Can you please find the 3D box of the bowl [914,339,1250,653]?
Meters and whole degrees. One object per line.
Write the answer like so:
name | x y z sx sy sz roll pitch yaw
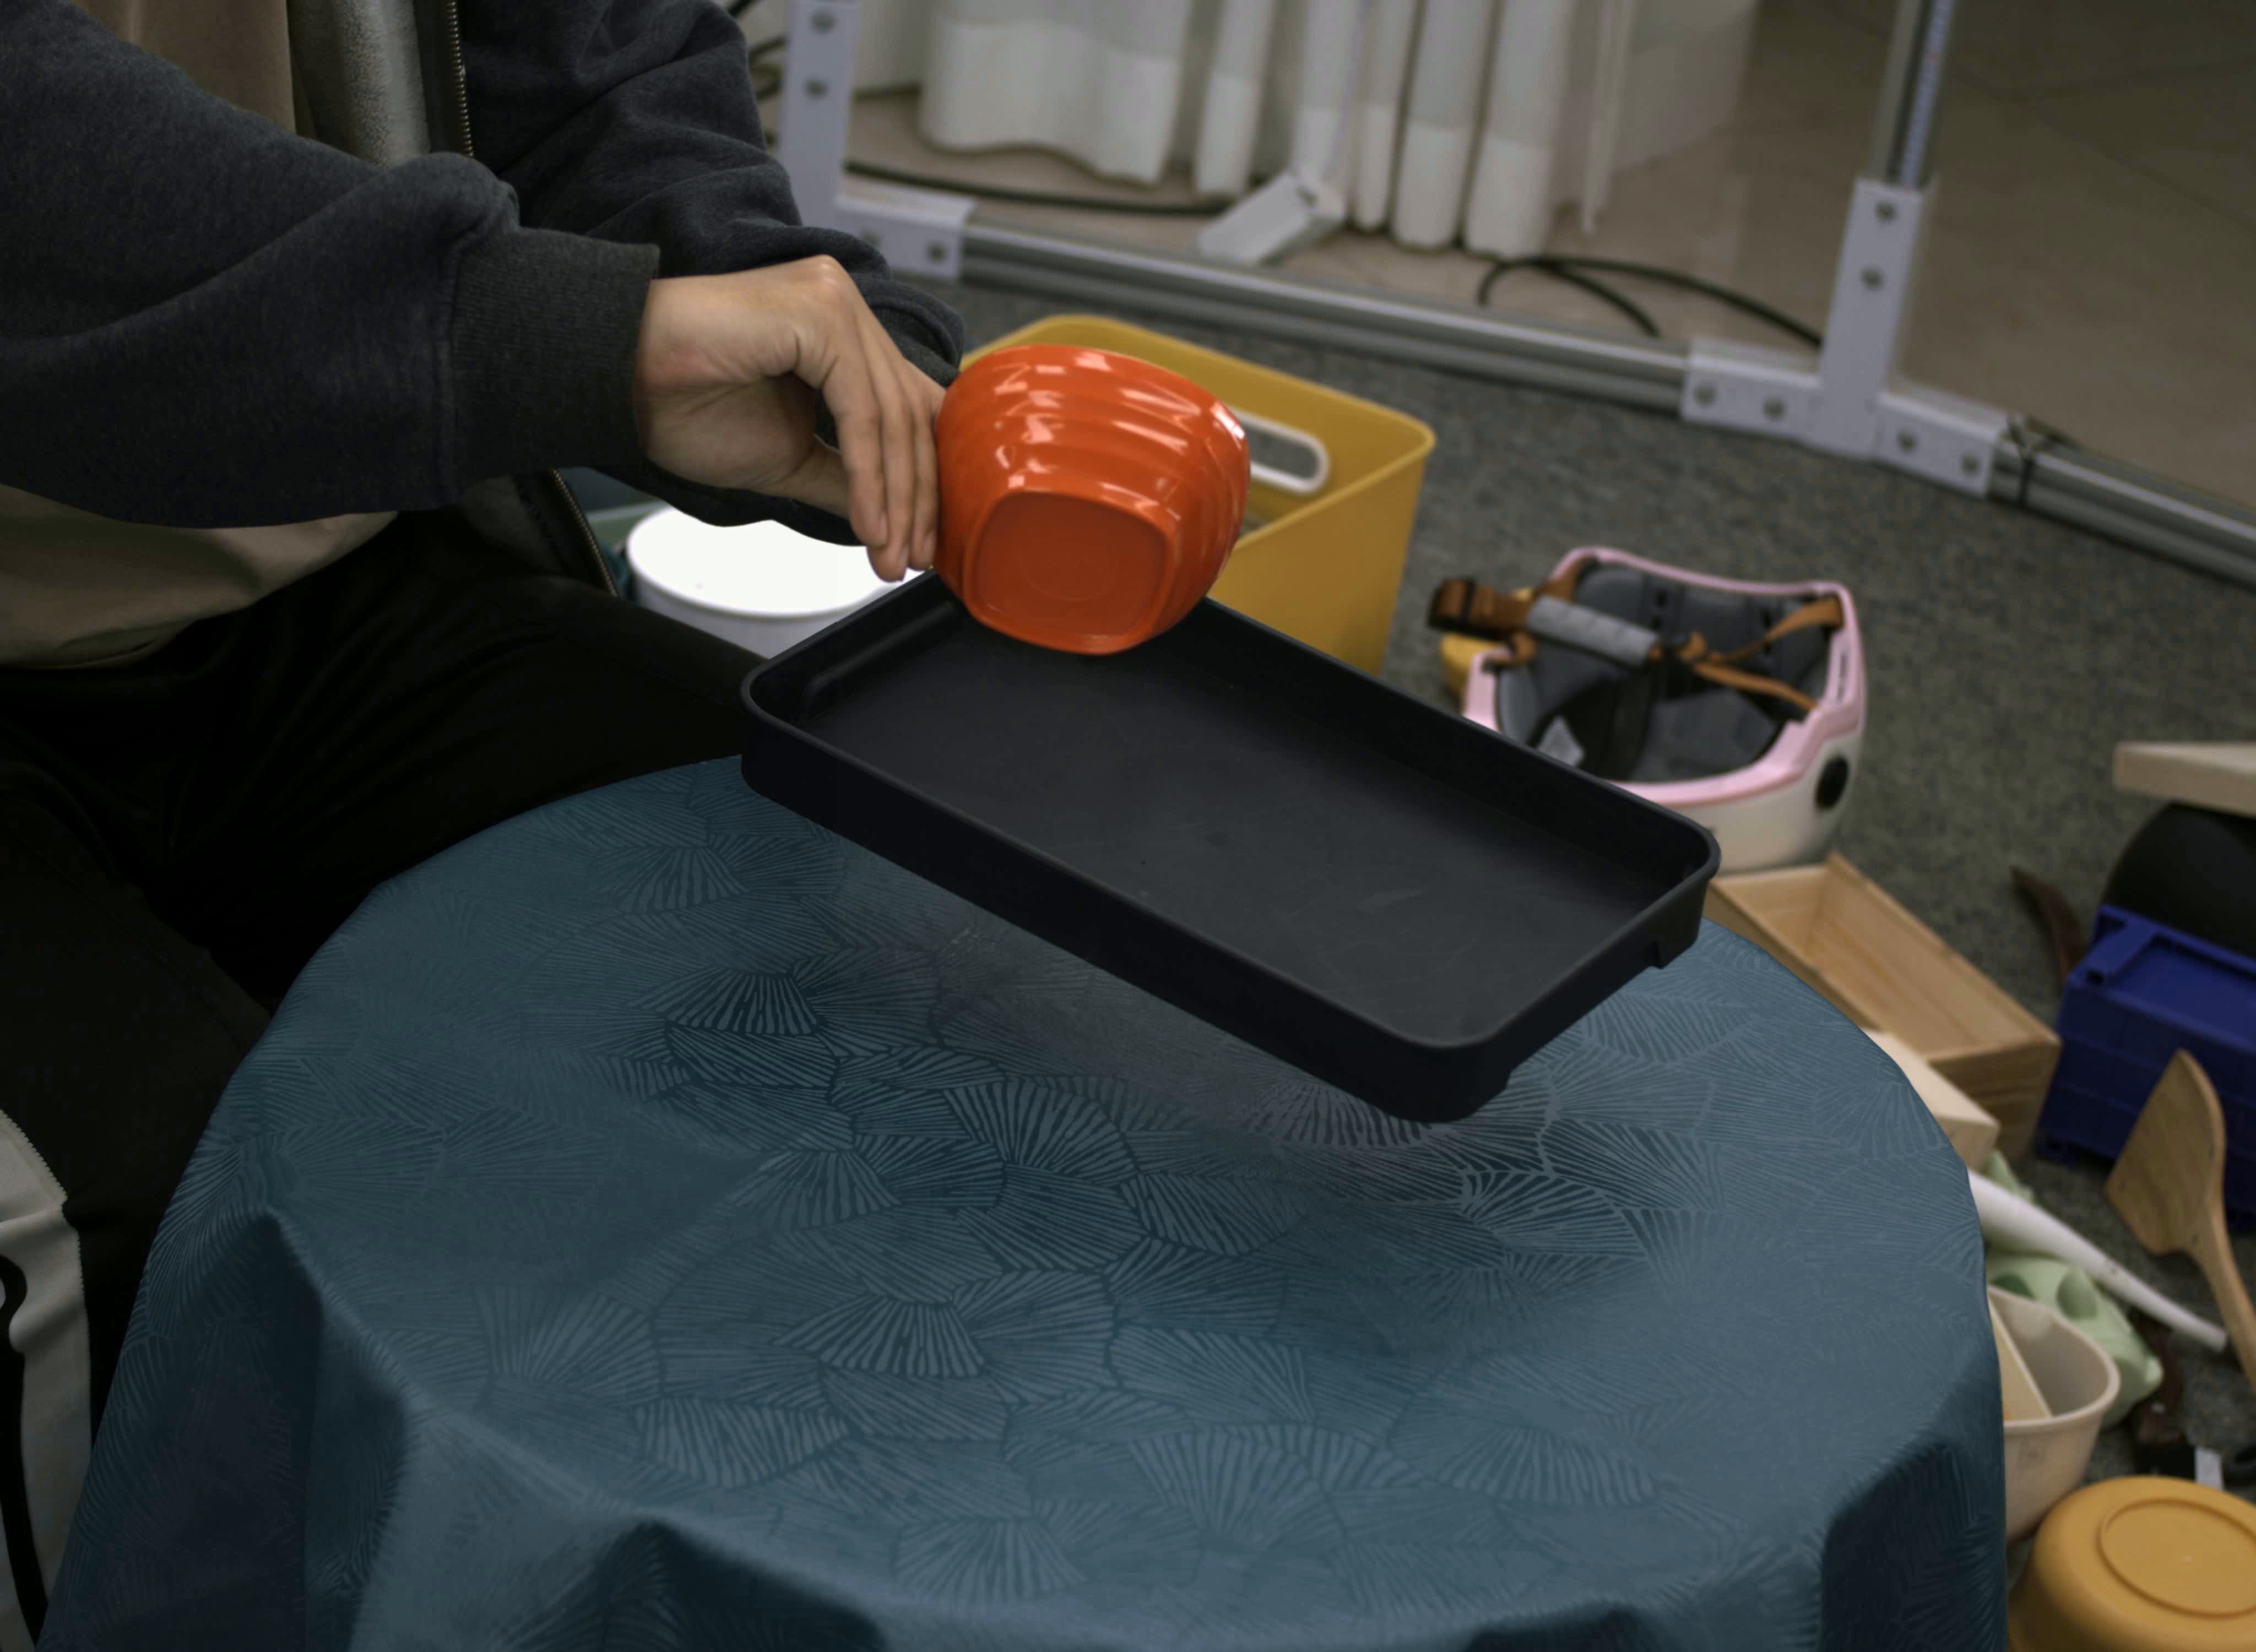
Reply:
bowl | -0.018 -0.100 1.745 0.118 0.118 0.052 8 43 1

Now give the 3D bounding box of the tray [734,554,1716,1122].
tray | 0.031 -0.009 1.863 0.320 0.037 0.184 27 38 28
